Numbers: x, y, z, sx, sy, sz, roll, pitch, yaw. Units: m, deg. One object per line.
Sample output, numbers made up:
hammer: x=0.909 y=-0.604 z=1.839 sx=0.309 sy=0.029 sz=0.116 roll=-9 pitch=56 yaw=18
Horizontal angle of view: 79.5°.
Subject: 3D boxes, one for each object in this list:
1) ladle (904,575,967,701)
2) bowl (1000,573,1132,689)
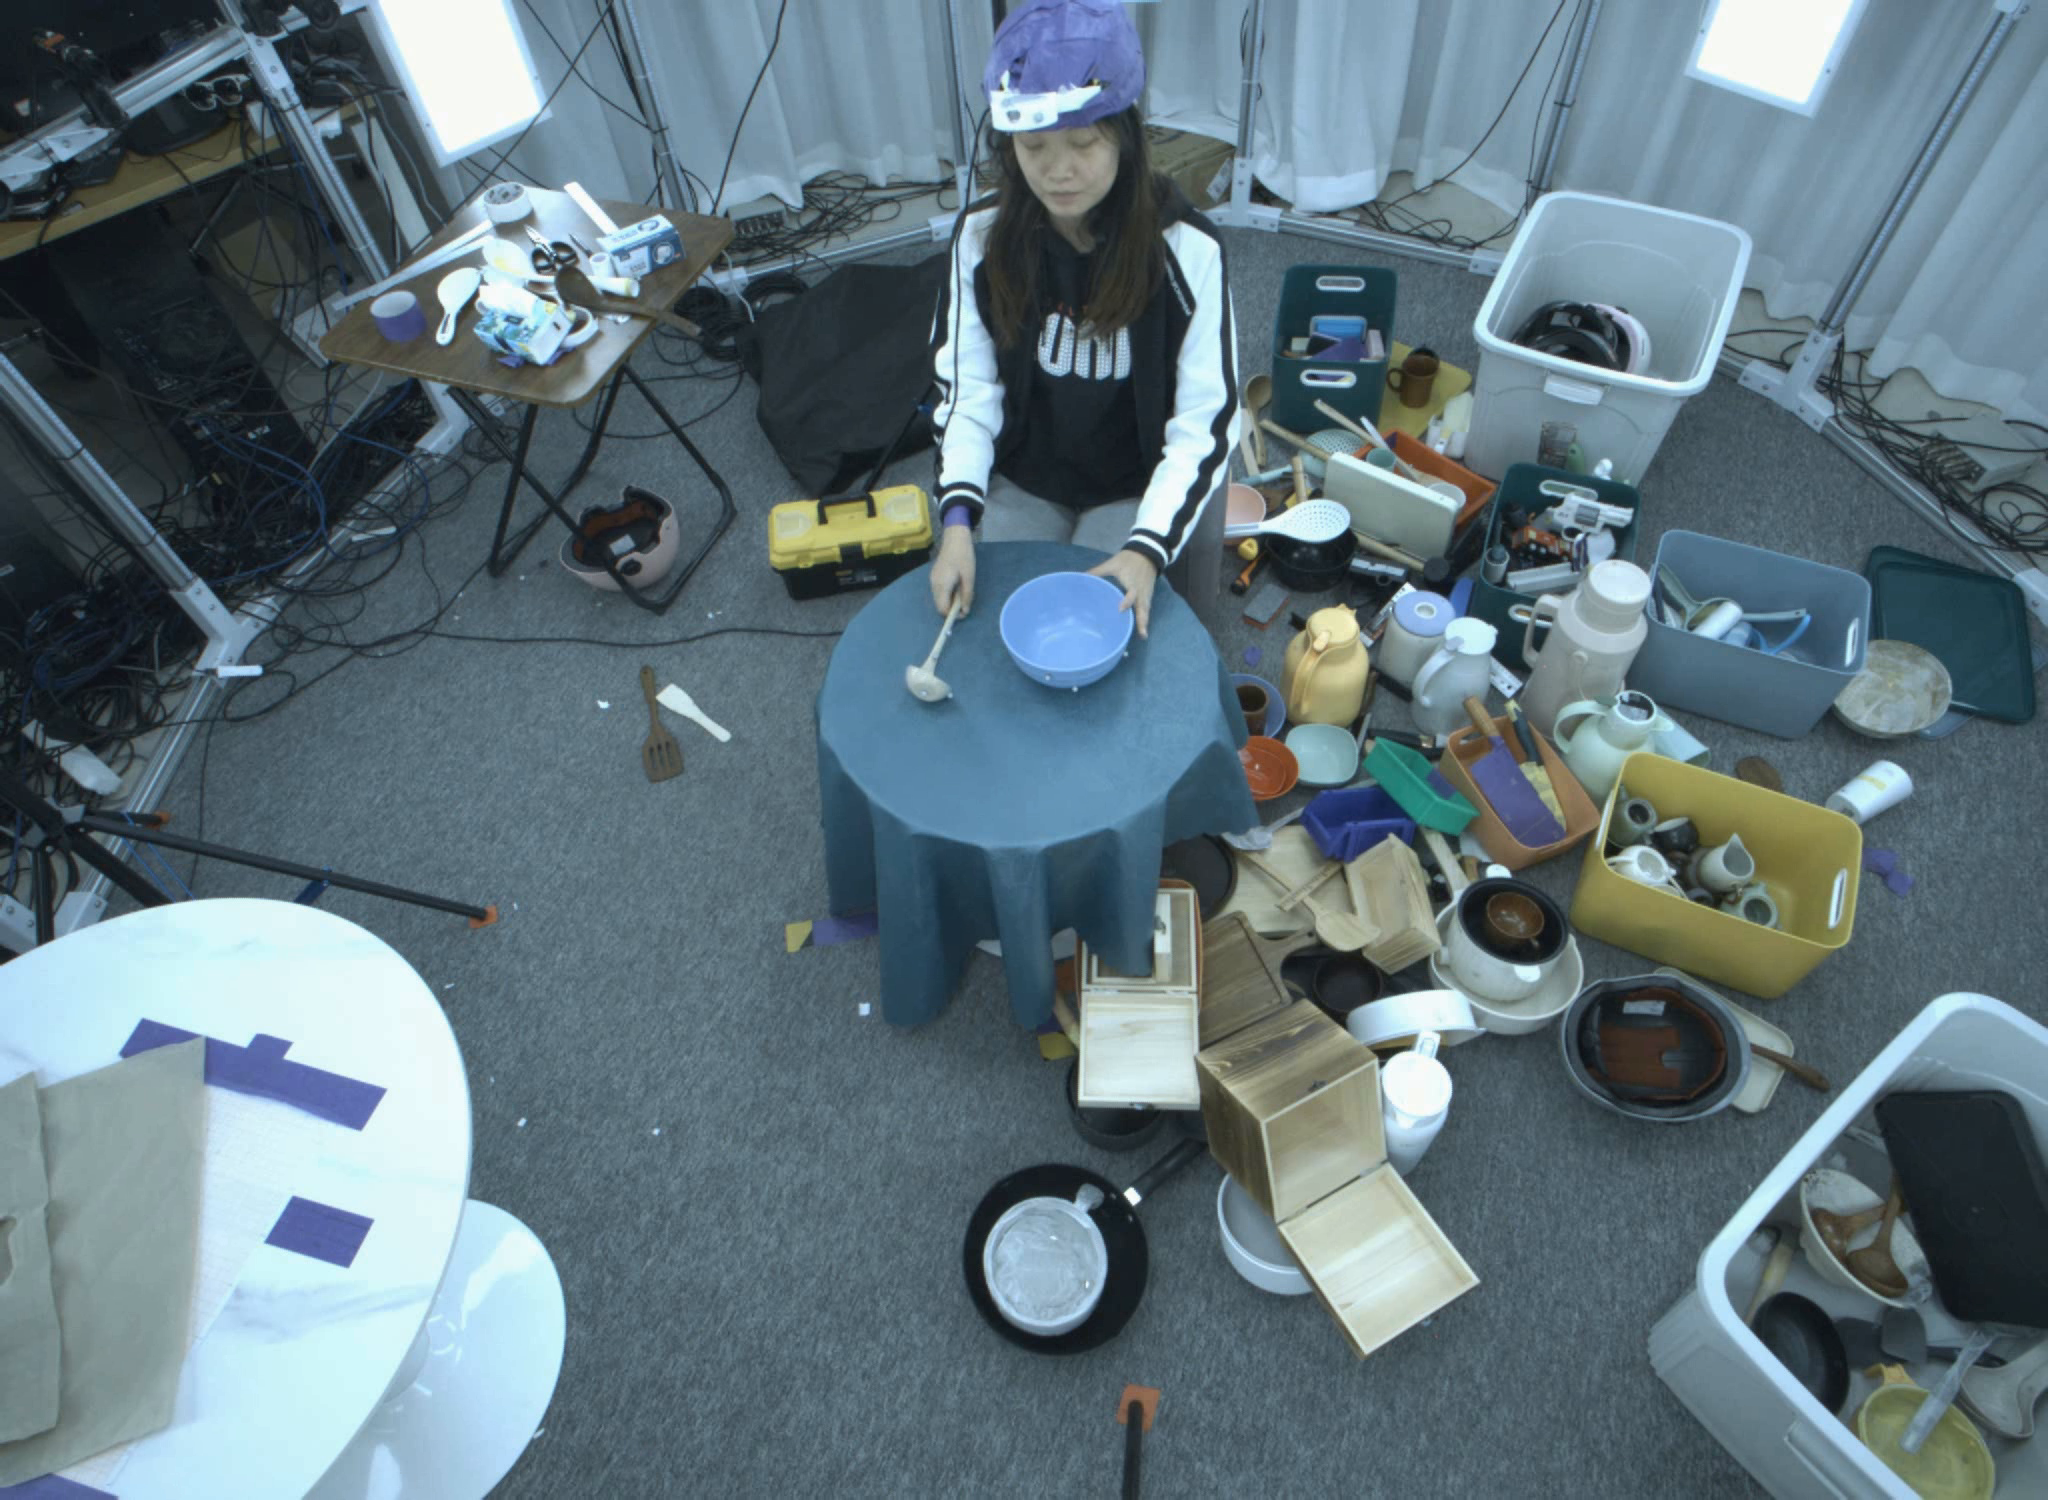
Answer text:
ladle: x=-0.116 y=-0.187 z=1.871 sx=0.073 sy=0.072 sz=0.253 roll=27 pitch=59 yaw=-16
bowl: x=0.065 y=-0.163 z=1.846 sx=0.196 sy=0.096 sz=0.194 roll=-2 pitch=54 yaw=3
